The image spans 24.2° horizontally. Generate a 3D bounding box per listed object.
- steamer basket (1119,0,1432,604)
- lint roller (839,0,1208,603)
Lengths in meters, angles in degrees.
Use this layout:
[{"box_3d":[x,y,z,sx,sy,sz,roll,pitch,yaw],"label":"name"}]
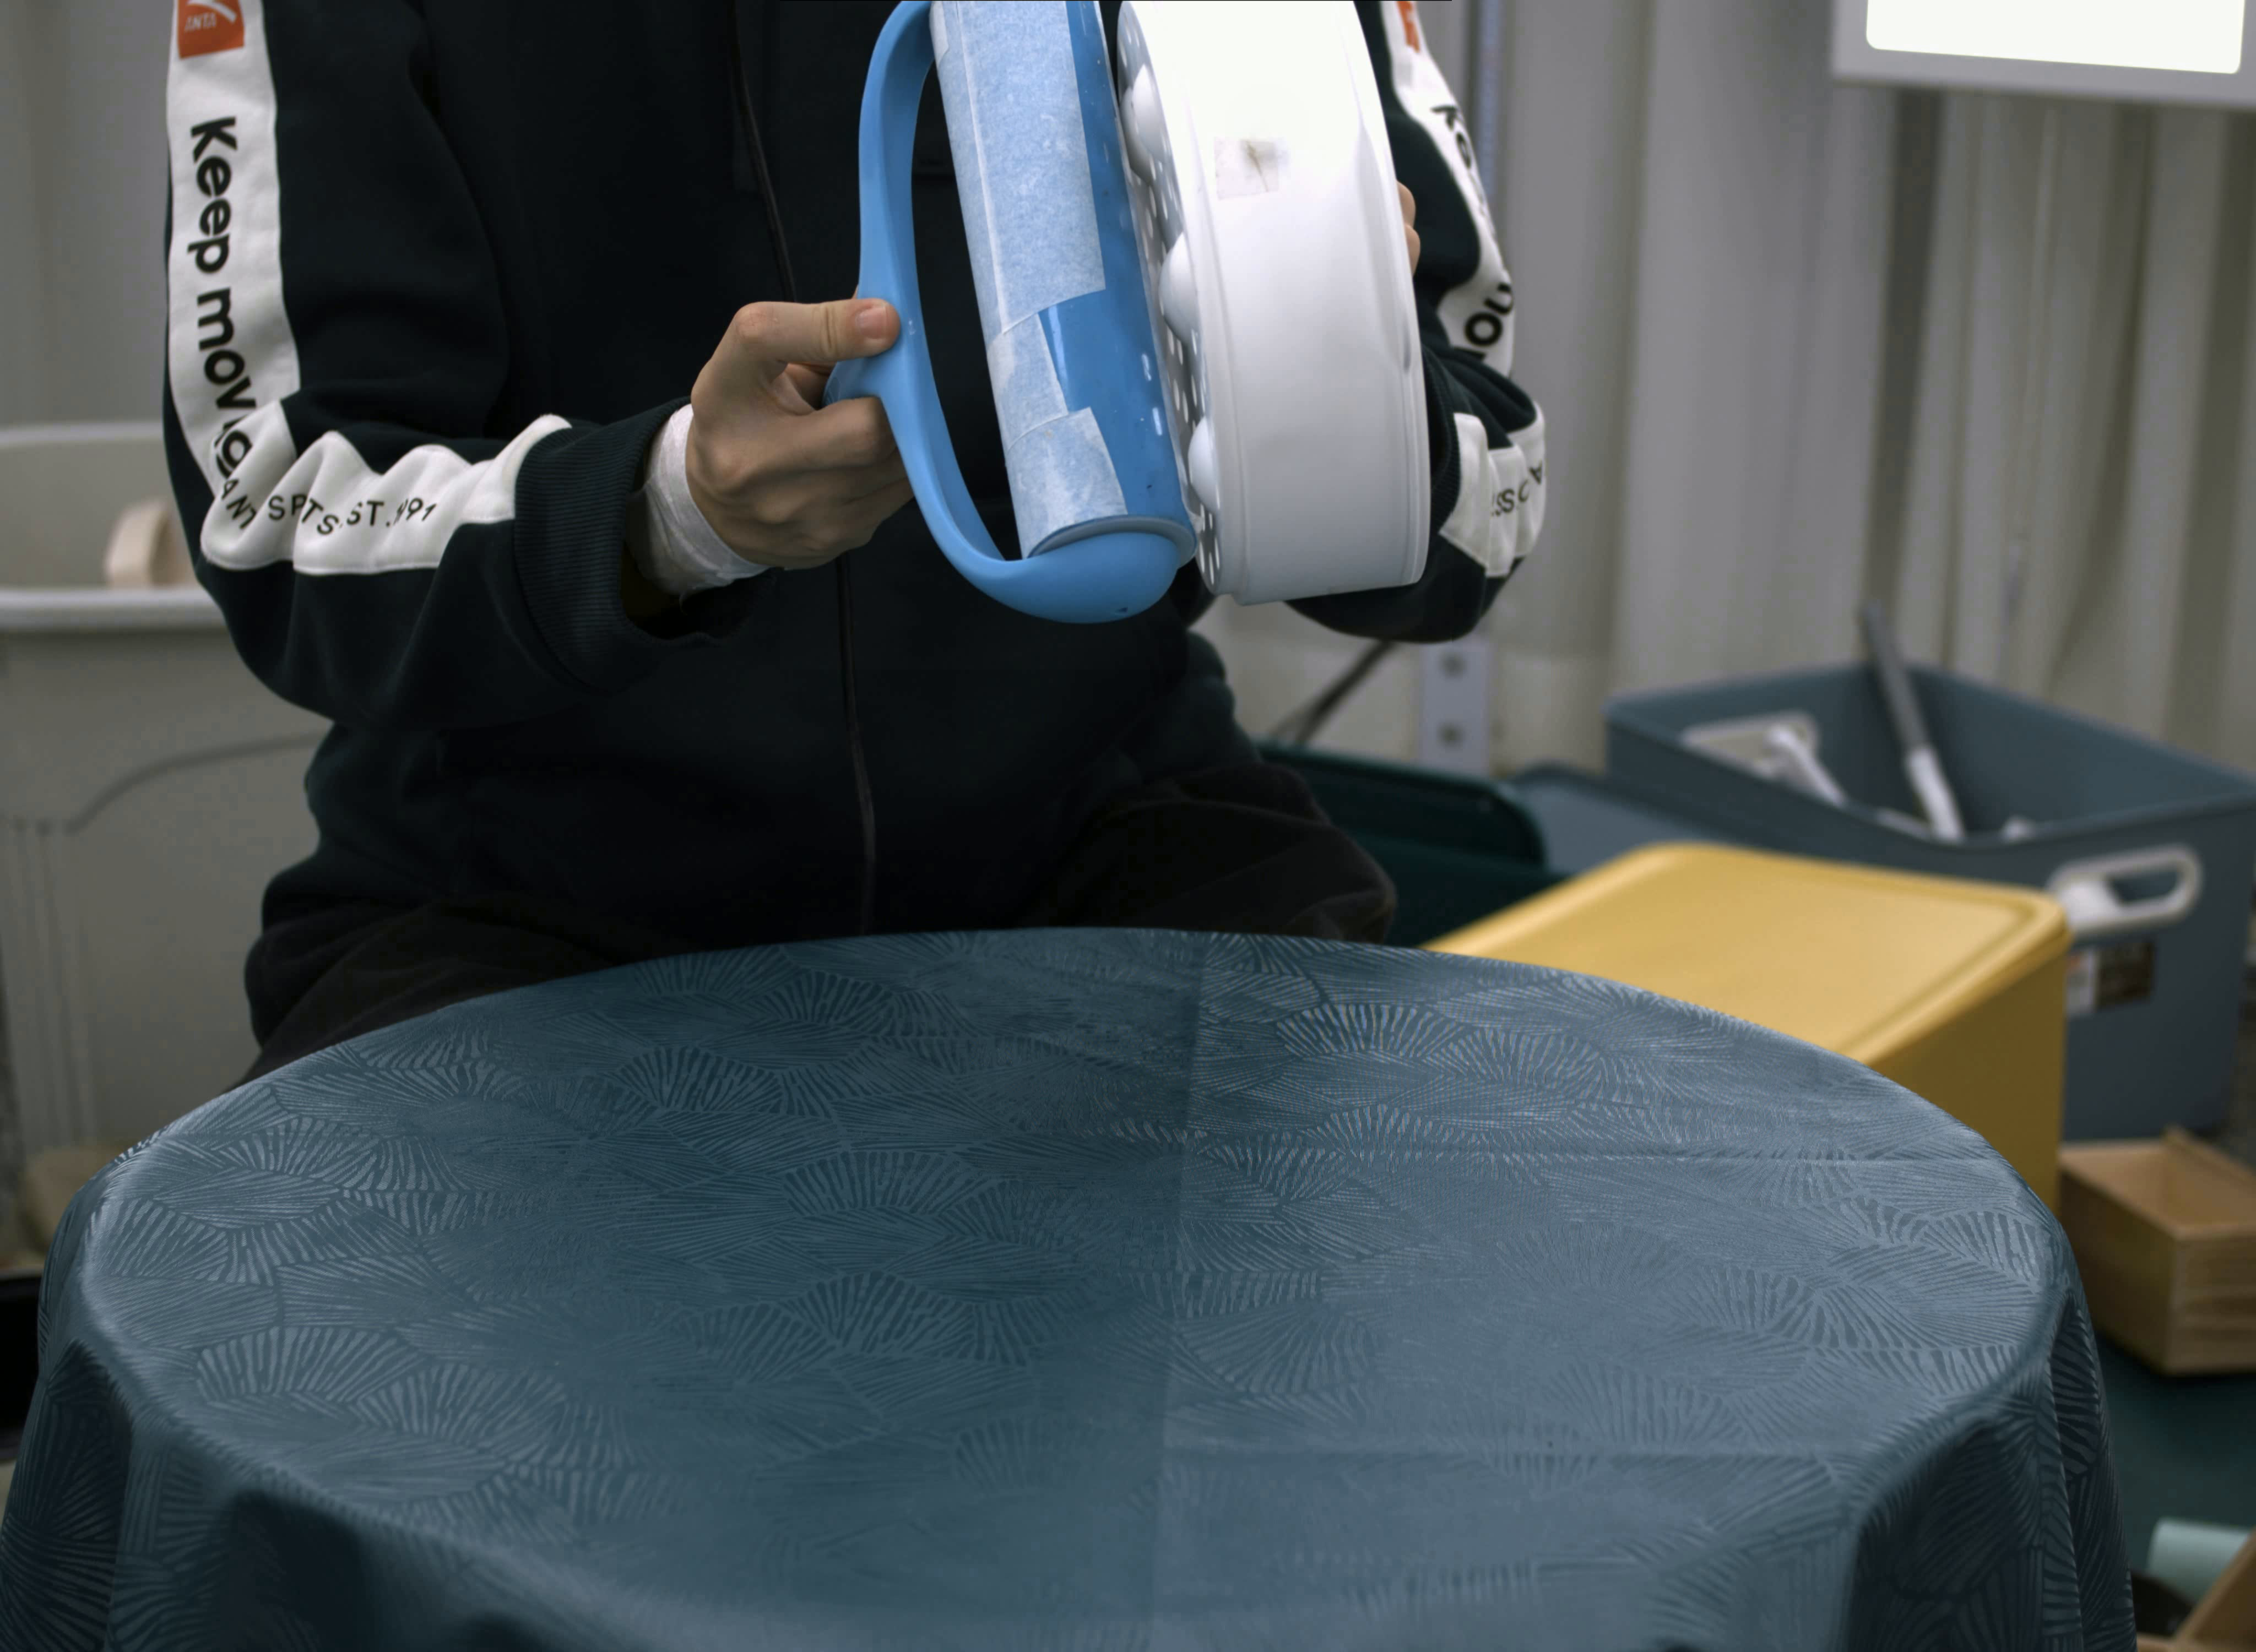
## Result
[{"box_3d":[0.041,-0.167,1.603,0.069,0.202,0.230,-8,2,-5],"label":"steamer basket"},{"box_3d":[-0.052,-0.146,1.645,0.068,0.227,0.180,4,-29,-39],"label":"lint roller"}]
